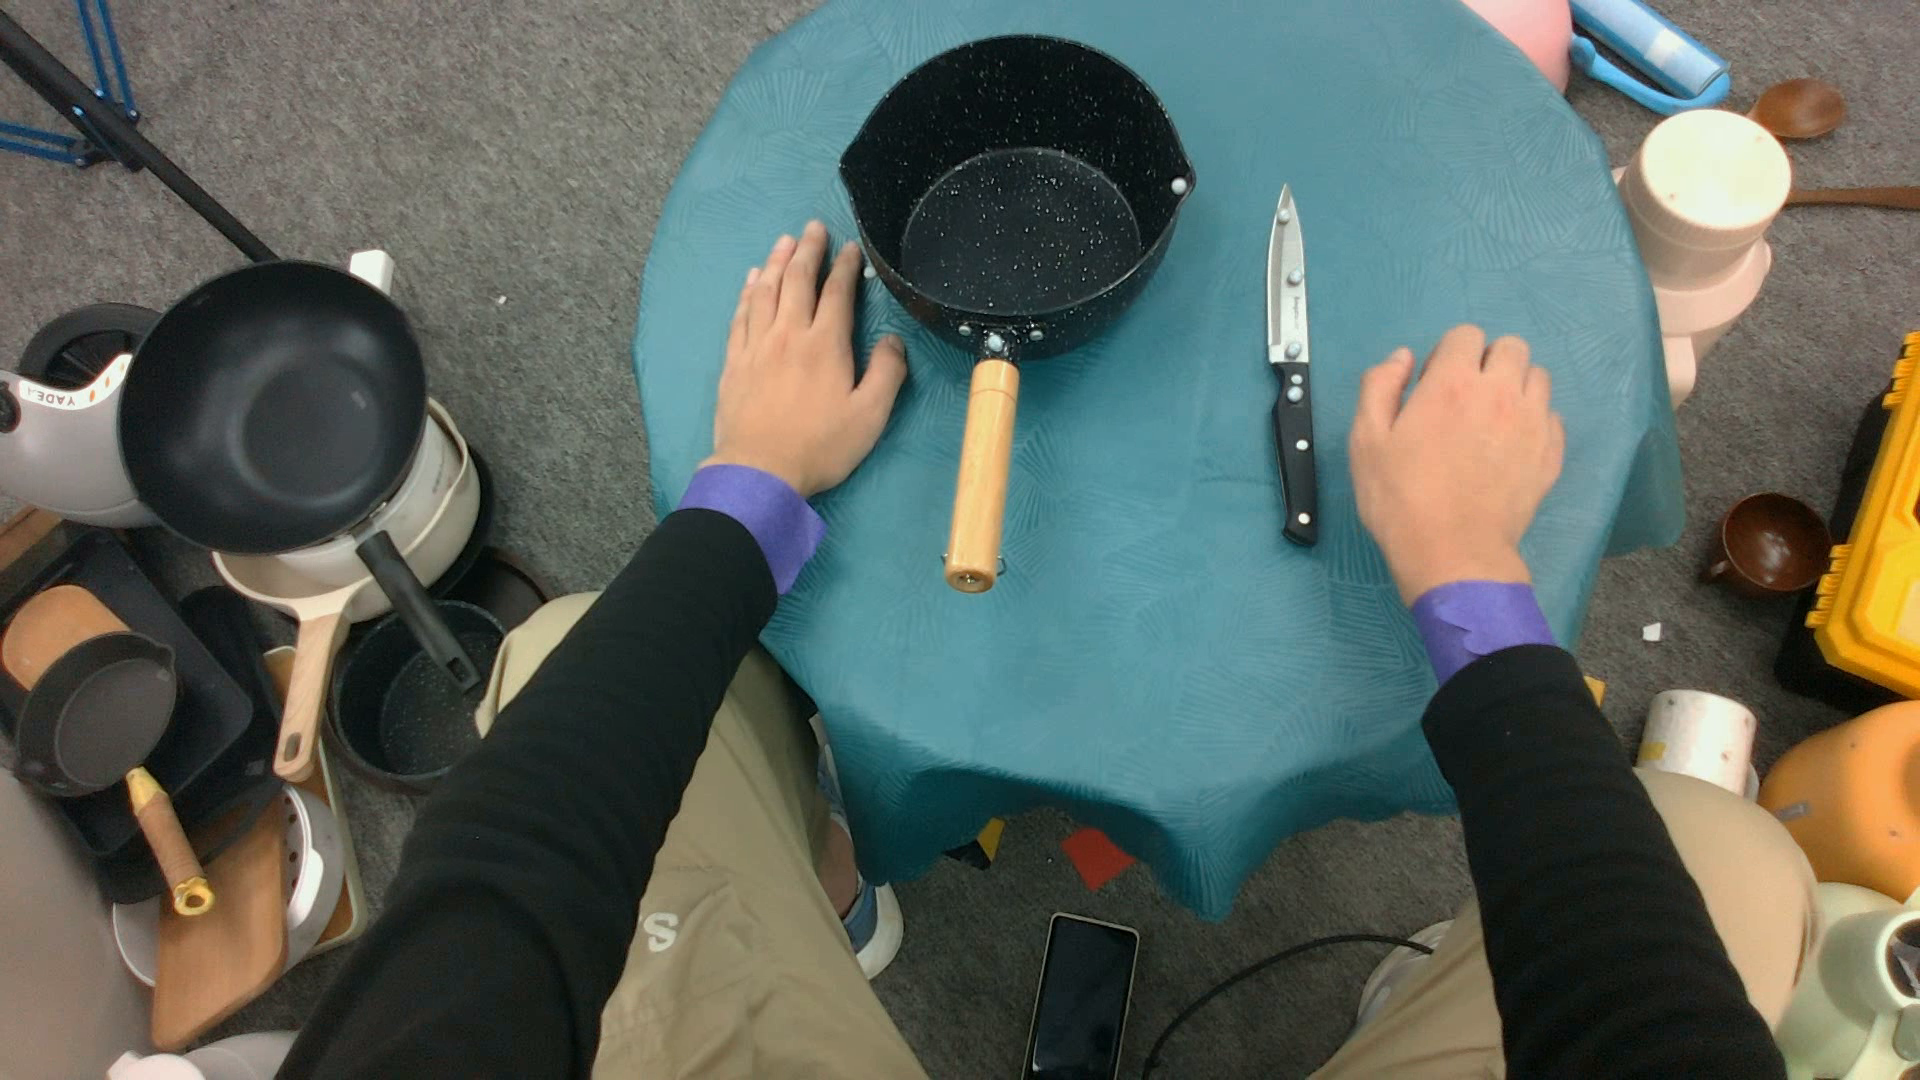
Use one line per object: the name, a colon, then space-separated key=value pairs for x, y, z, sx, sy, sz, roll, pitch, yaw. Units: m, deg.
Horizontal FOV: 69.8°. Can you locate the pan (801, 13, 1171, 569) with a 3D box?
pan: x=0.010 y=-0.132 z=0.764 sx=0.207 sy=0.108 sz=0.344 roll=3 pitch=69 yaw=4

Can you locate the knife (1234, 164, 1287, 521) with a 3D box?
knife: x=0.174 y=-0.121 z=0.799 sx=0.024 sy=0.016 sz=0.239 roll=0 pitch=67 yaw=4
